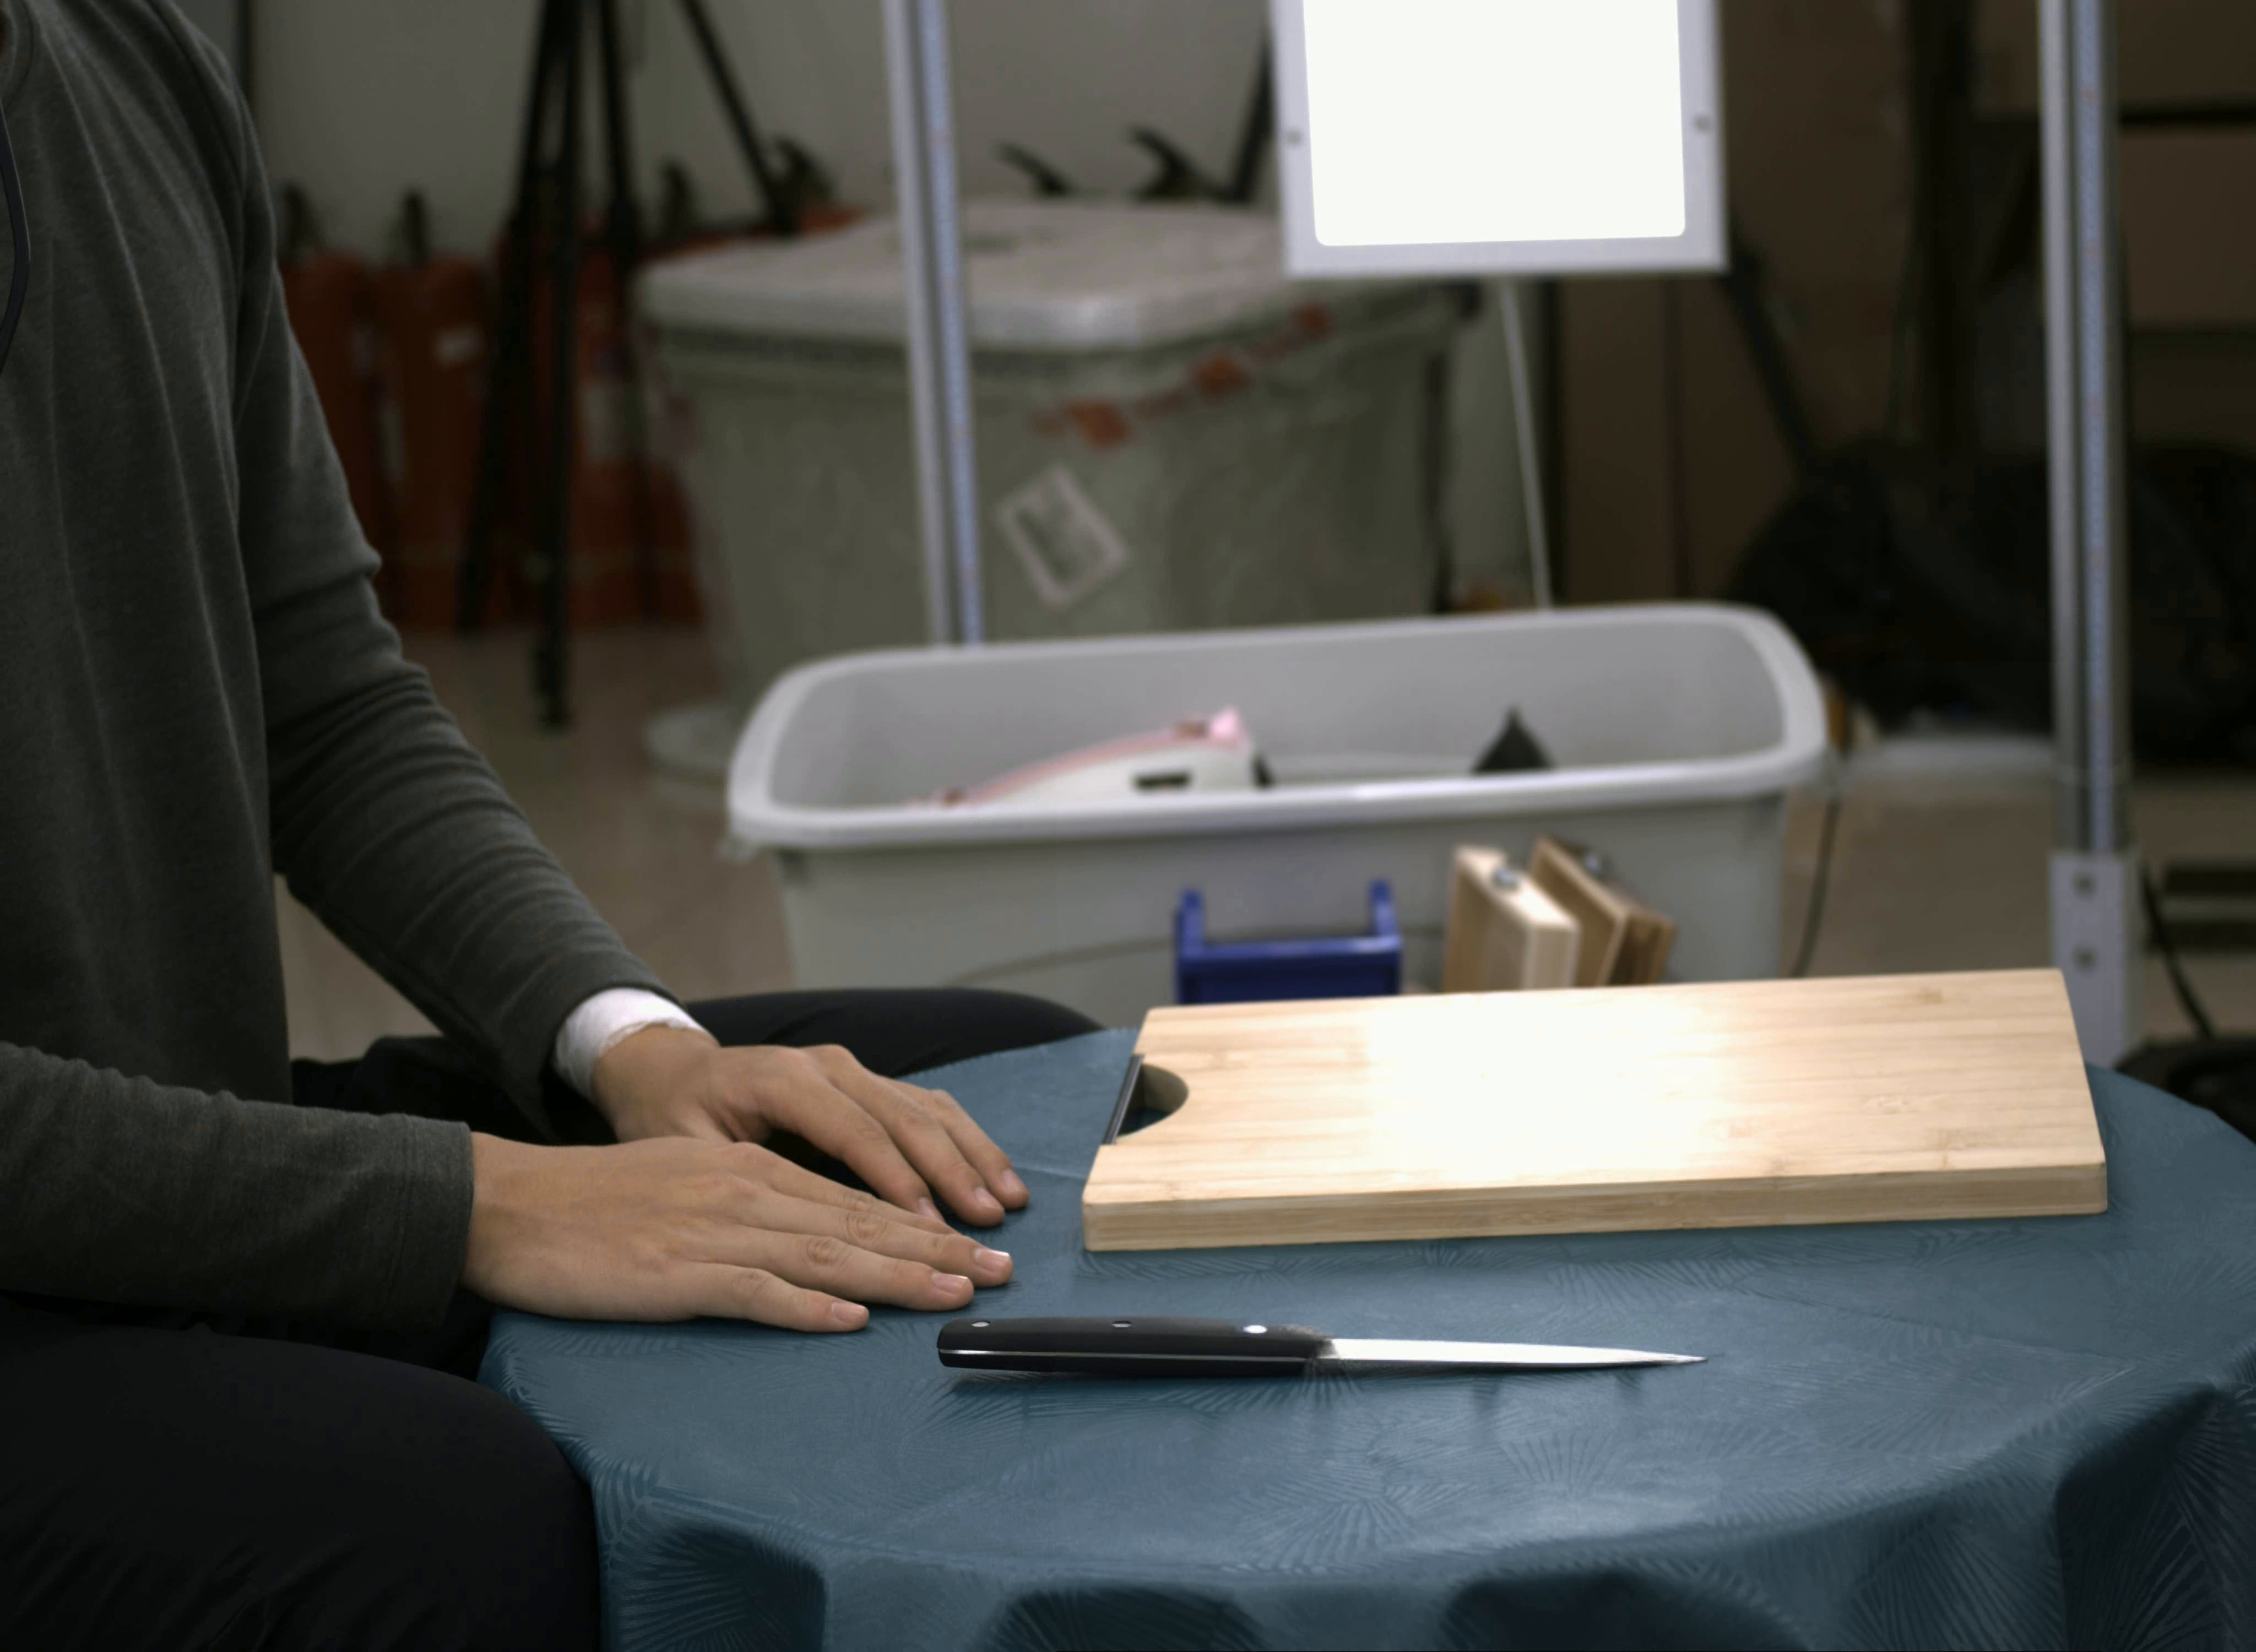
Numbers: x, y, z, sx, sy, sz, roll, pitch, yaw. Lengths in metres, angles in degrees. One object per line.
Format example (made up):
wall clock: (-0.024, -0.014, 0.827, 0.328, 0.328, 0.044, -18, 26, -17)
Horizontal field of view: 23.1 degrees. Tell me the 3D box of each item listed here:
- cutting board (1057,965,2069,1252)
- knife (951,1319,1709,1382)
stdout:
cutting board: (0.159, 0.098, 1.929, 0.350, 0.023, 0.249, -3, 13, 8)
knife: (0.061, 0.163, 1.707, 0.239, 0.016, 0.024, 0, 15, 10)
